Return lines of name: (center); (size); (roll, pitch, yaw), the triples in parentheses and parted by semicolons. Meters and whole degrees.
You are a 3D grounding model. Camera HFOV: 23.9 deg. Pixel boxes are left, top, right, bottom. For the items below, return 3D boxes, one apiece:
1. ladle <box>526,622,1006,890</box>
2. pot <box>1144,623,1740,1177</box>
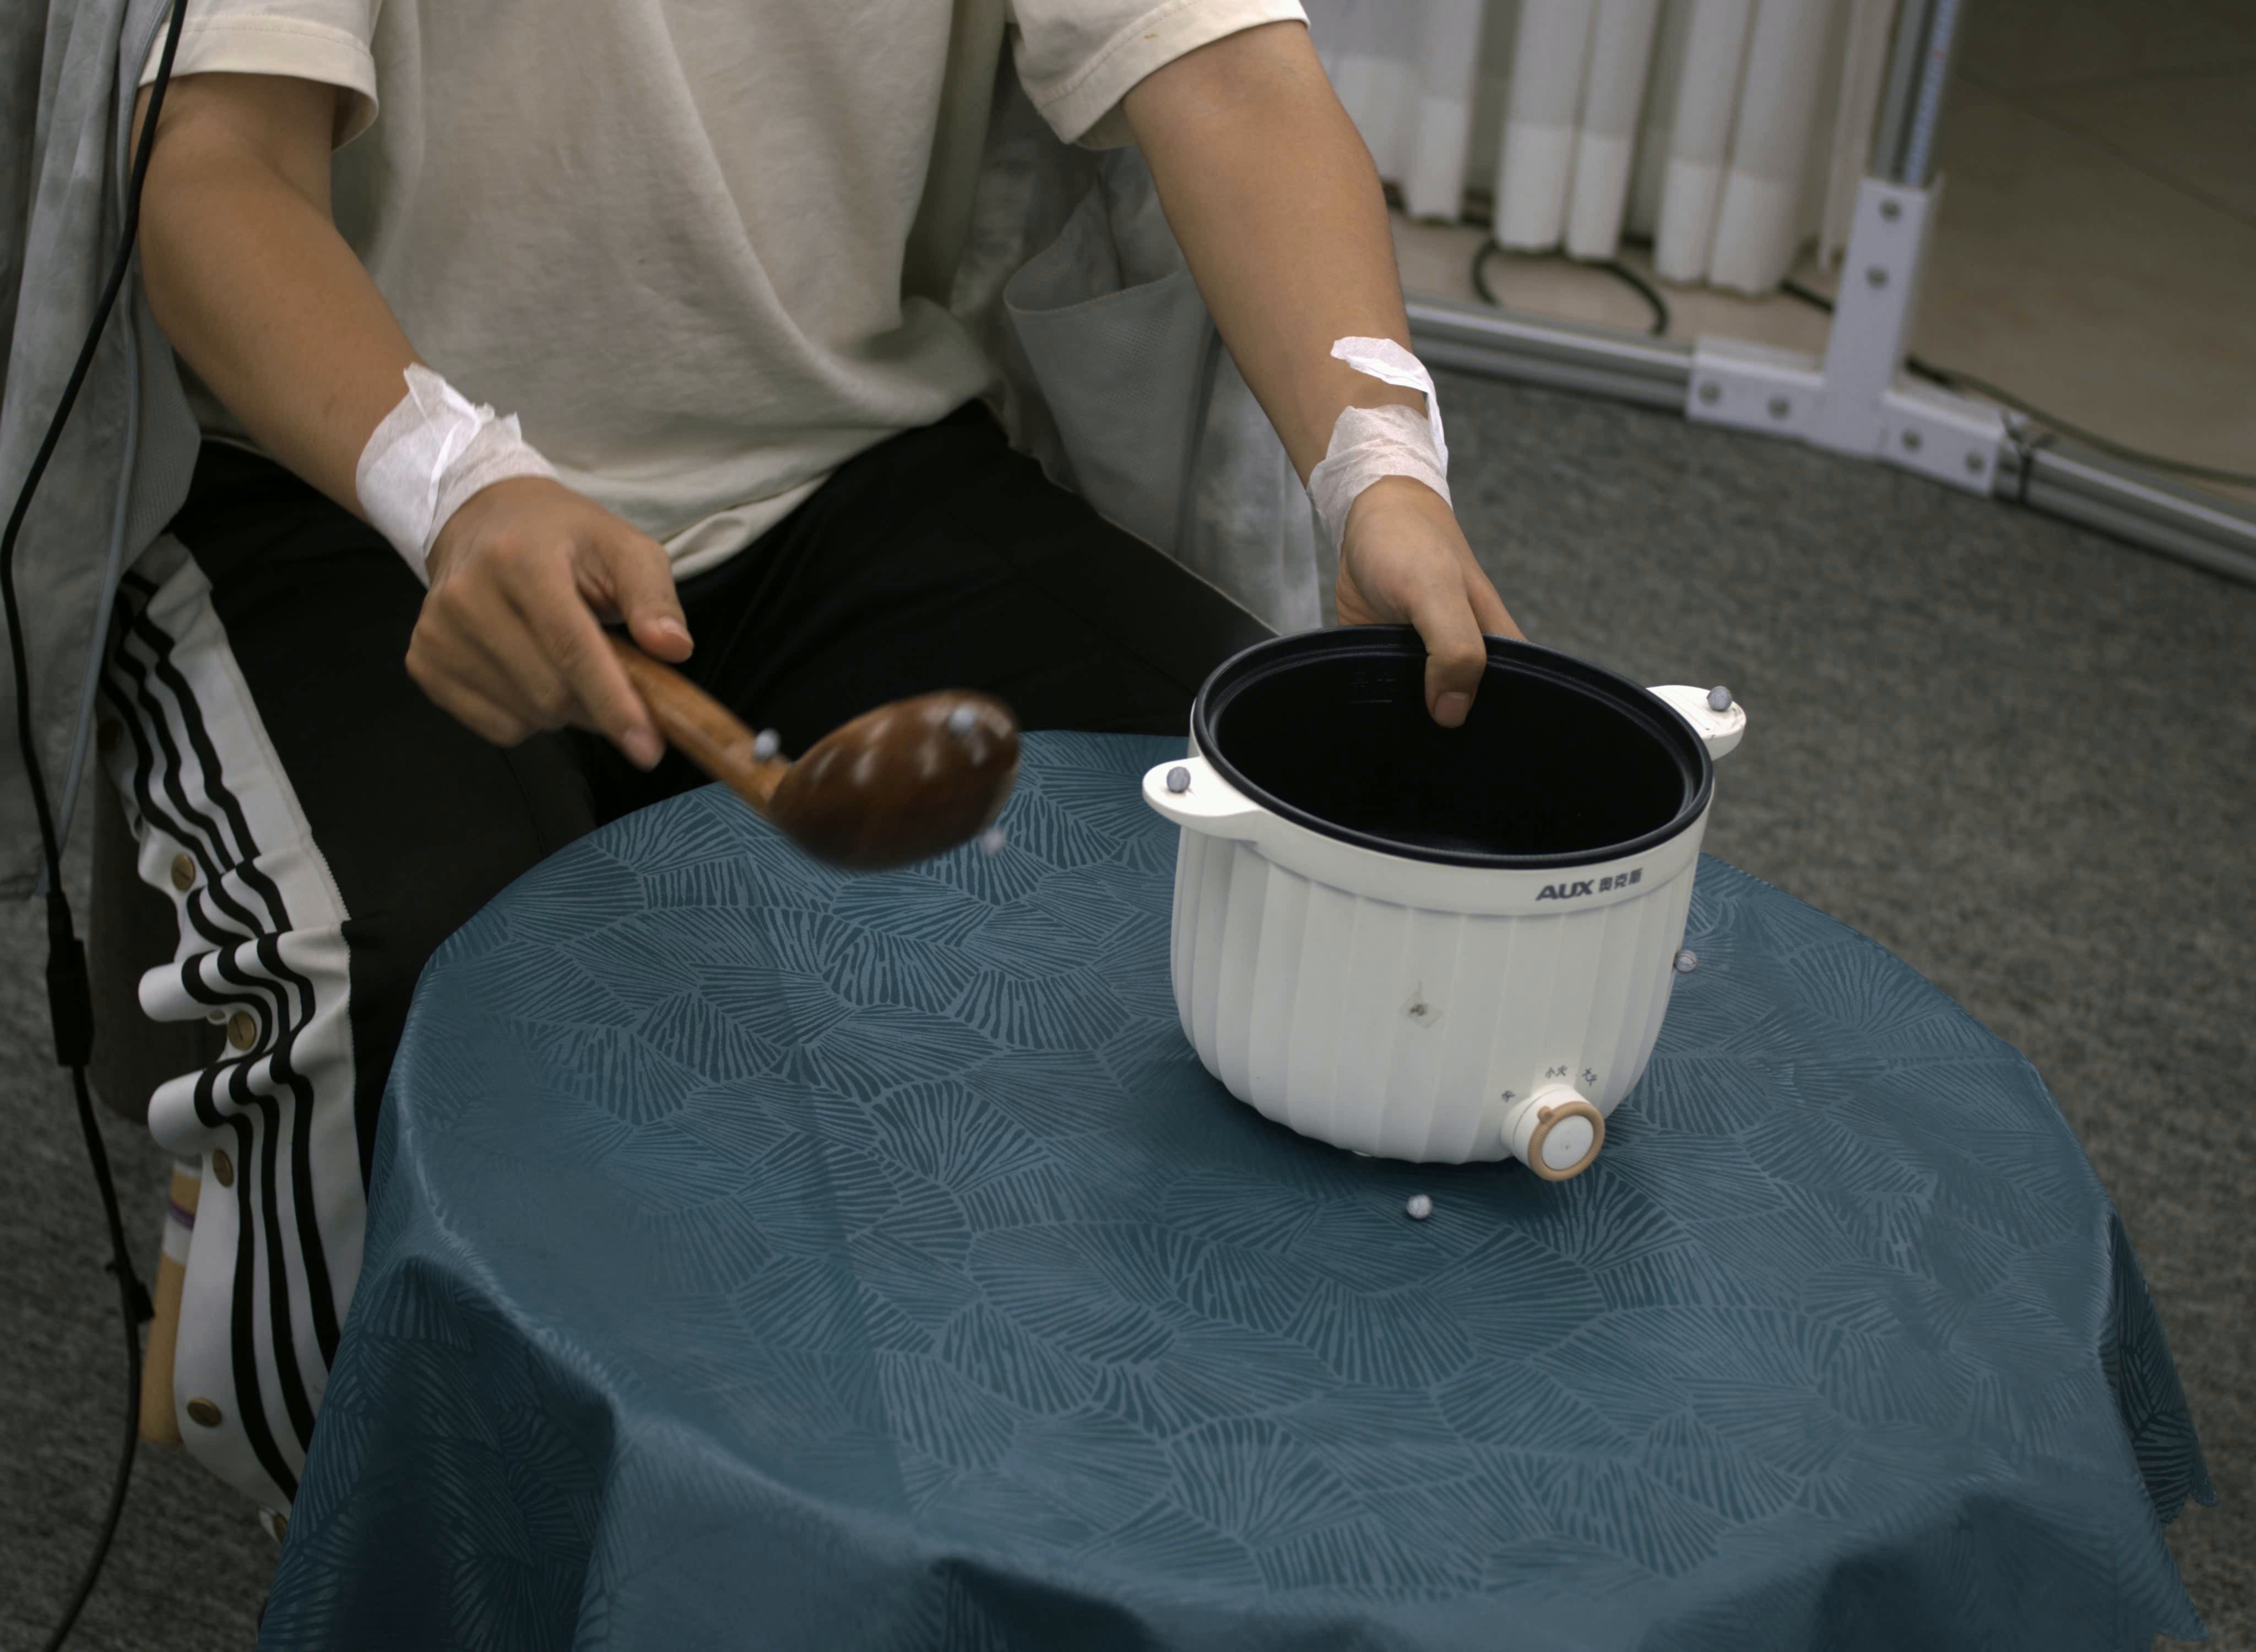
ladle: (-0.131, -0.047, 1.745); (0.081, 0.076, 0.276); (1, 21, -32)
pot: (0.109, 0.030, 1.860); (0.239, 0.142, 0.192); (-10, 28, -28)
